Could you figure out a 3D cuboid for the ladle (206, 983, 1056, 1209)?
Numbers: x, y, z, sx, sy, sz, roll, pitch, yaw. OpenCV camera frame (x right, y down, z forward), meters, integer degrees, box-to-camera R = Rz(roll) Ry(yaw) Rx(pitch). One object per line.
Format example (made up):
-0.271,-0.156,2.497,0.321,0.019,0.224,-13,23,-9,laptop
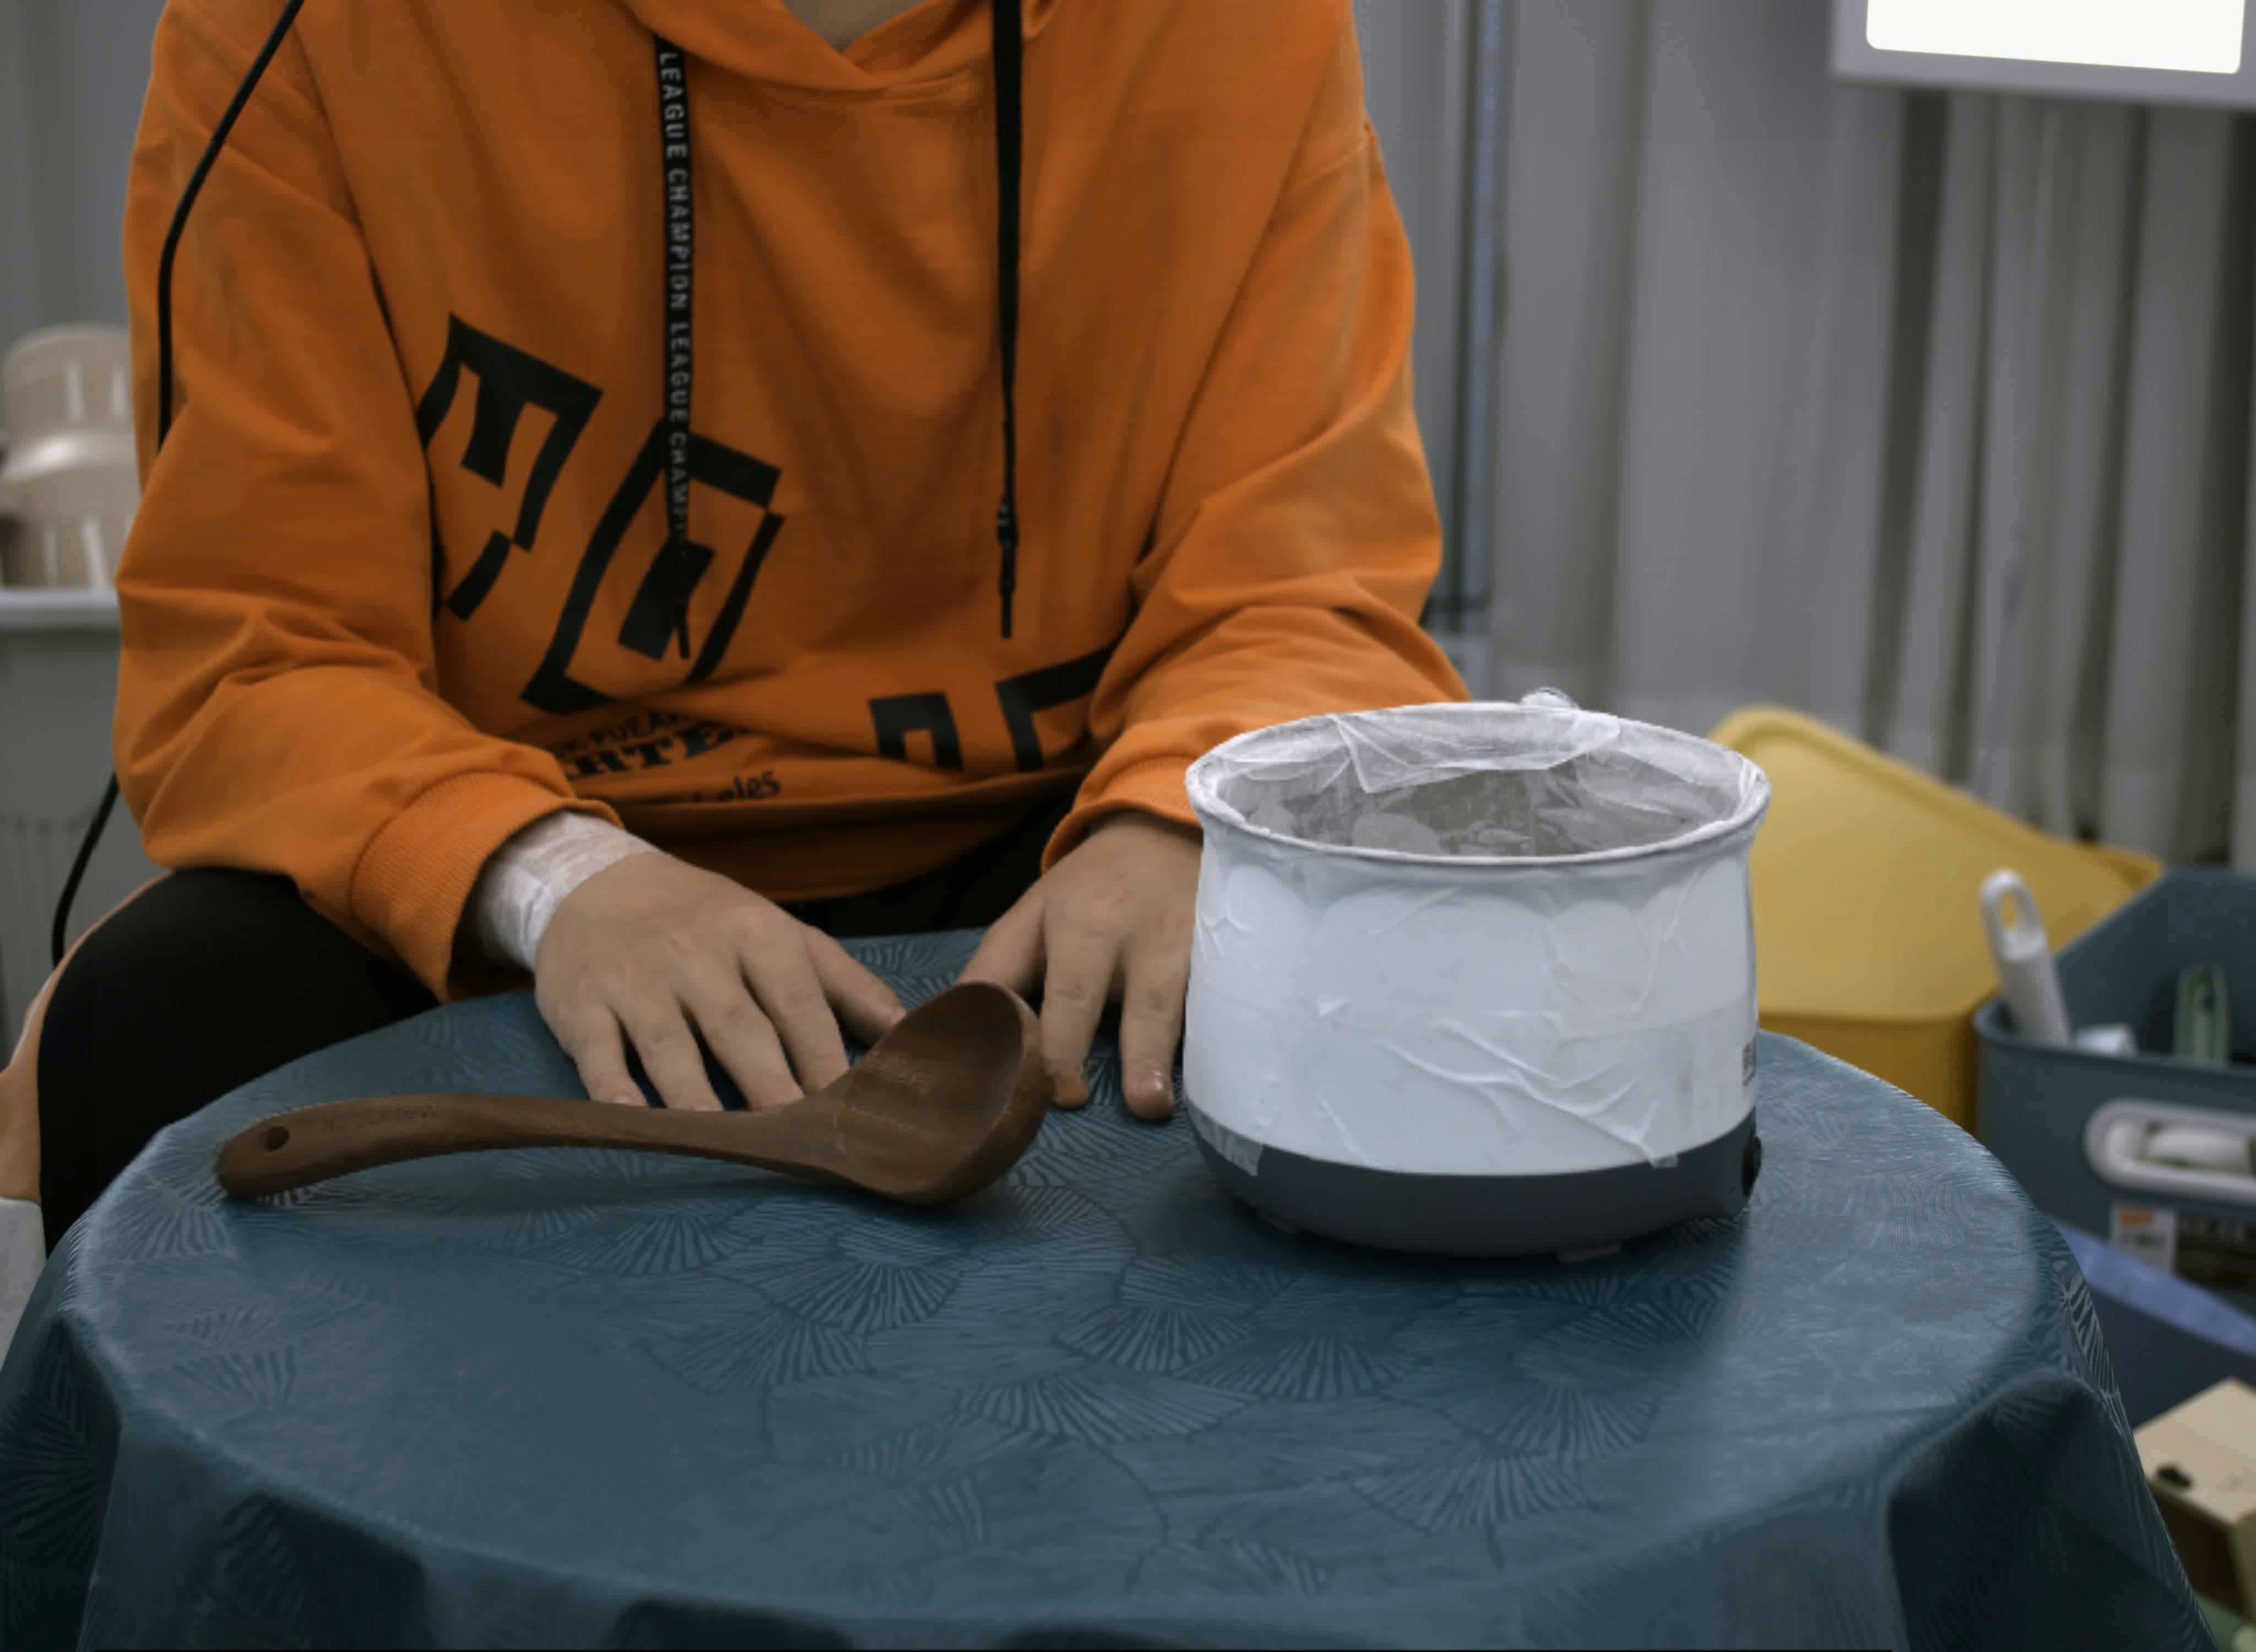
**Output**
-0.152,0.085,1.604,0.260,0.066,0.076,0,42,-5,ladle

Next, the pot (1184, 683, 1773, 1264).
0.112,0.039,1.631,0.177,0.138,0.233,5,17,14,pot
